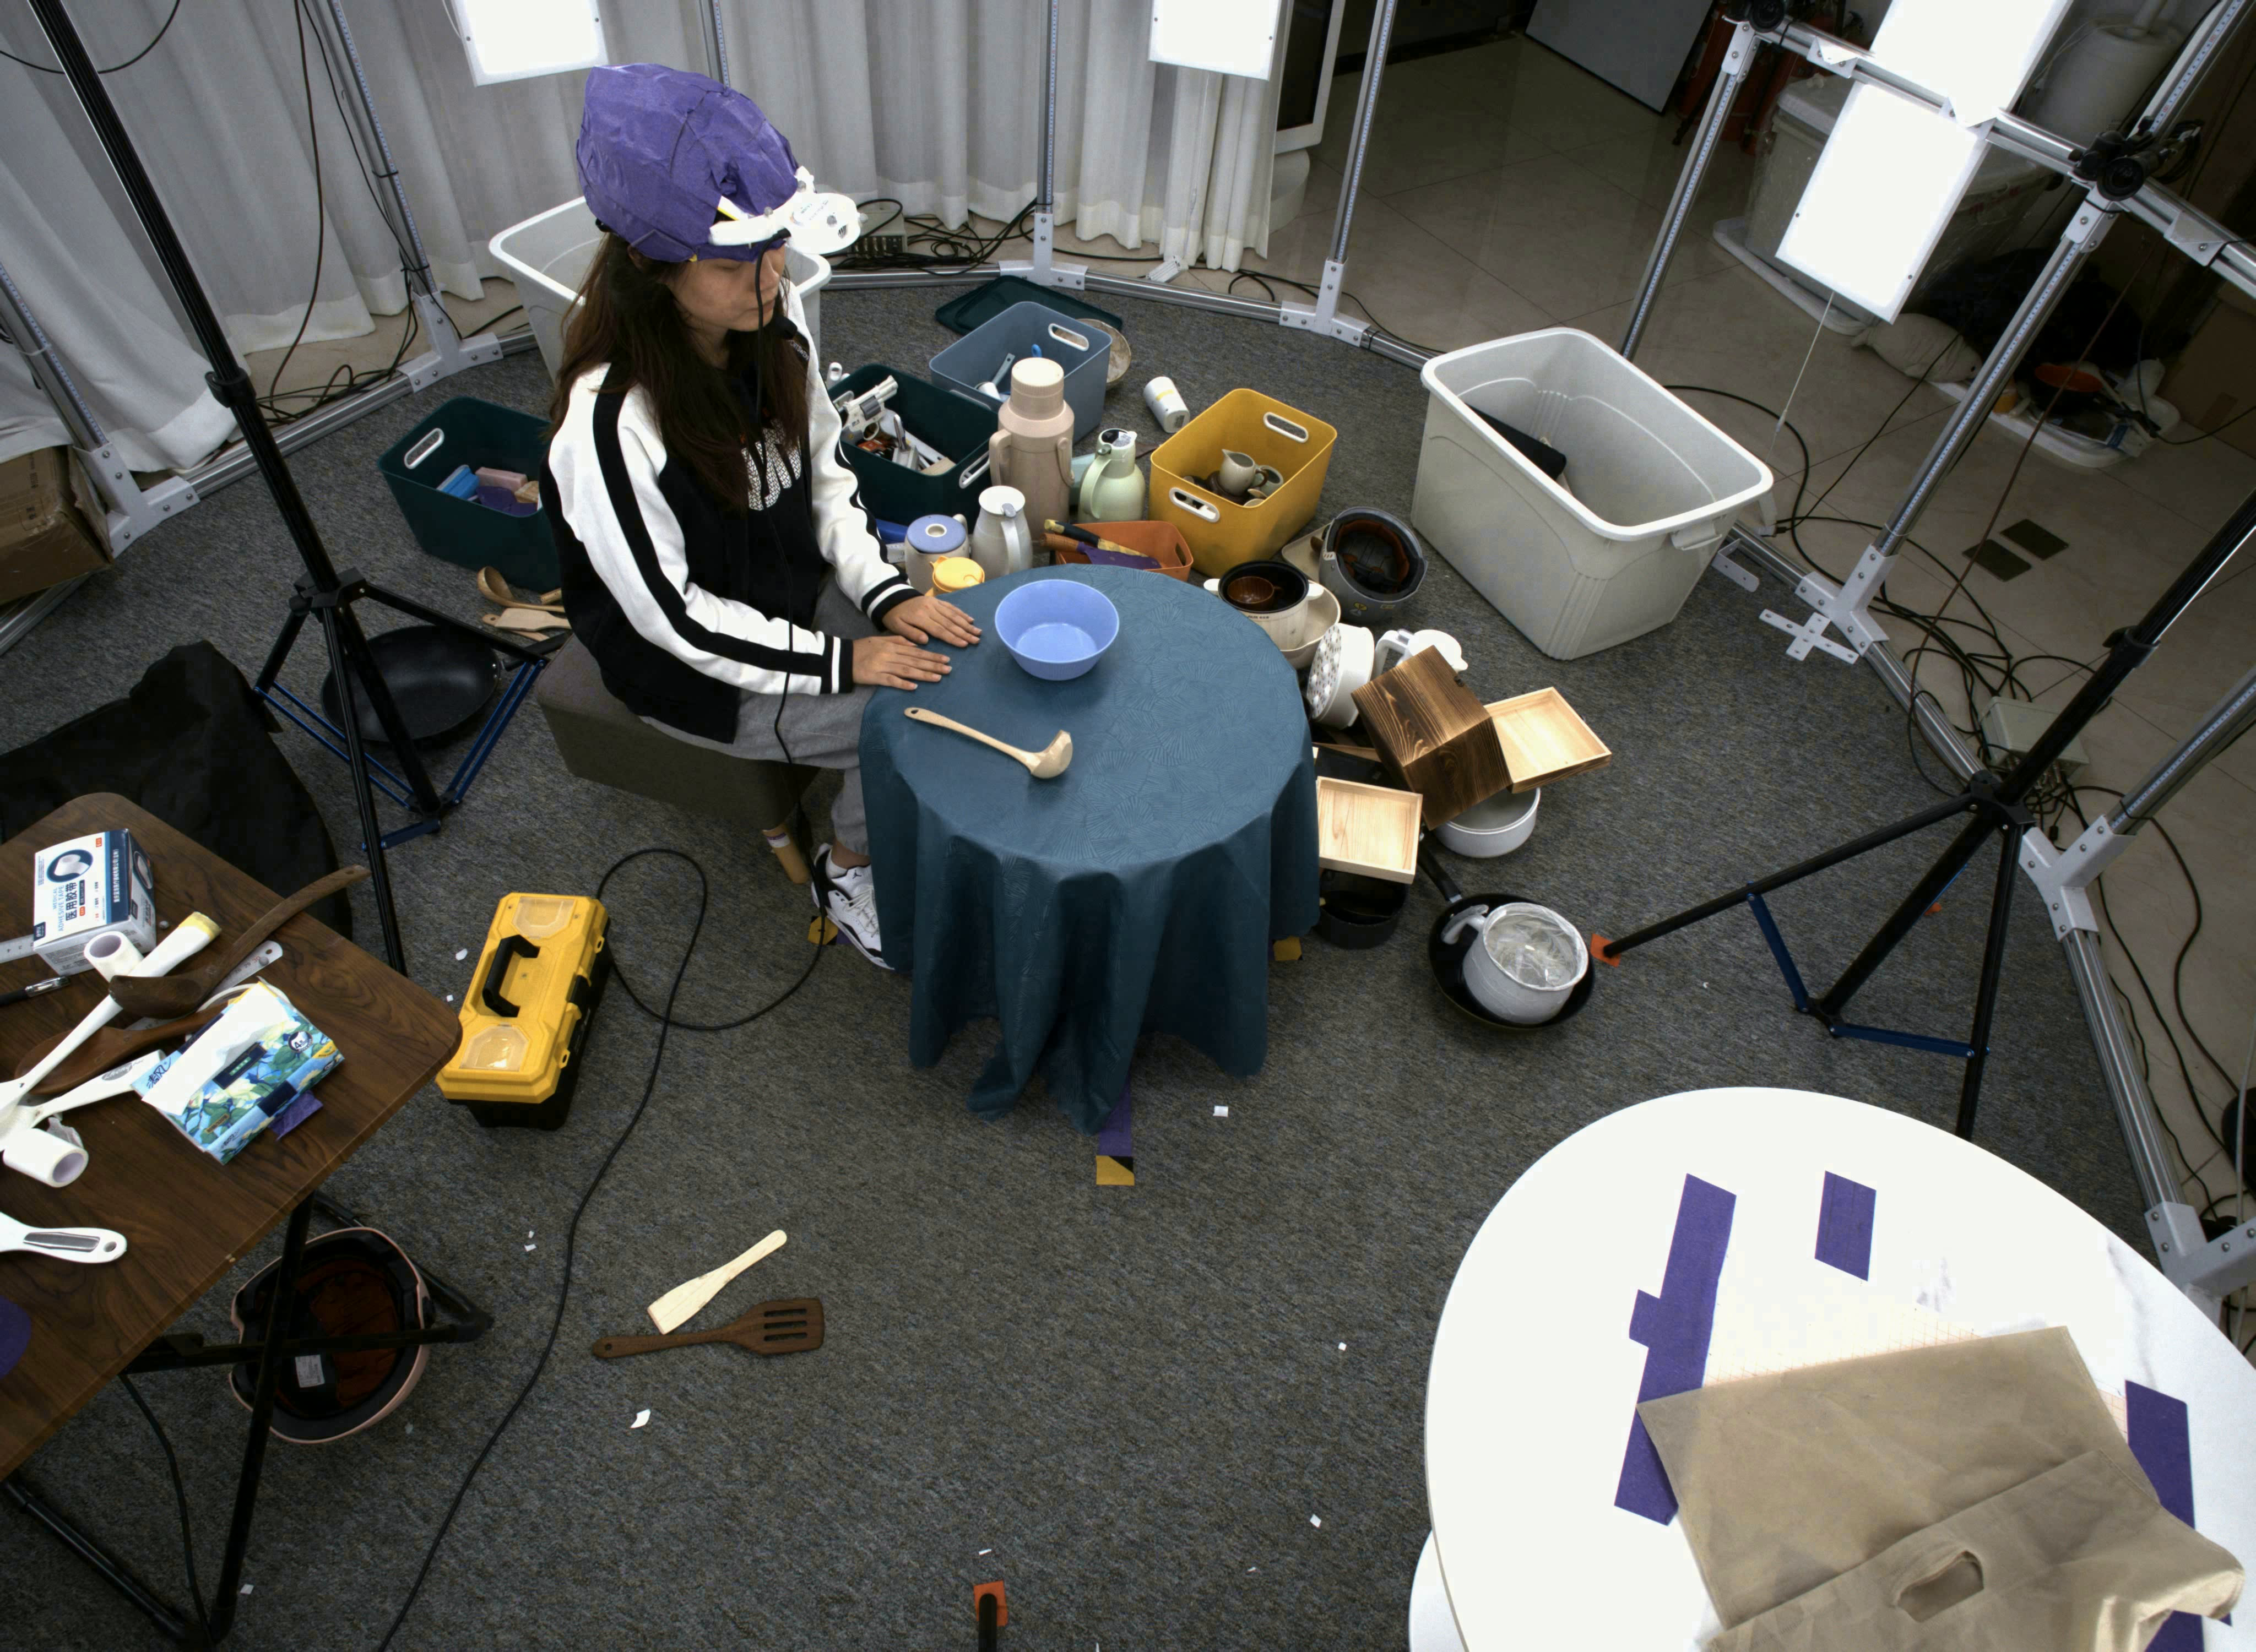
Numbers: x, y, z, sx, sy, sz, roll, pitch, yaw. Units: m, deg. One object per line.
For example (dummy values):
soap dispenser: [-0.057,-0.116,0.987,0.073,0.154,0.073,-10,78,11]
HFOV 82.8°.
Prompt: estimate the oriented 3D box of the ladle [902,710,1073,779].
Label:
ladle: [-0.196,-0.132,1.724,0.256,0.071,0.073,21,56,14]

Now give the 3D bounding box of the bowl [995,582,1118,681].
bowl: [-0.103,-0.272,1.854,0.176,0.068,0.180,2,48,-3]
